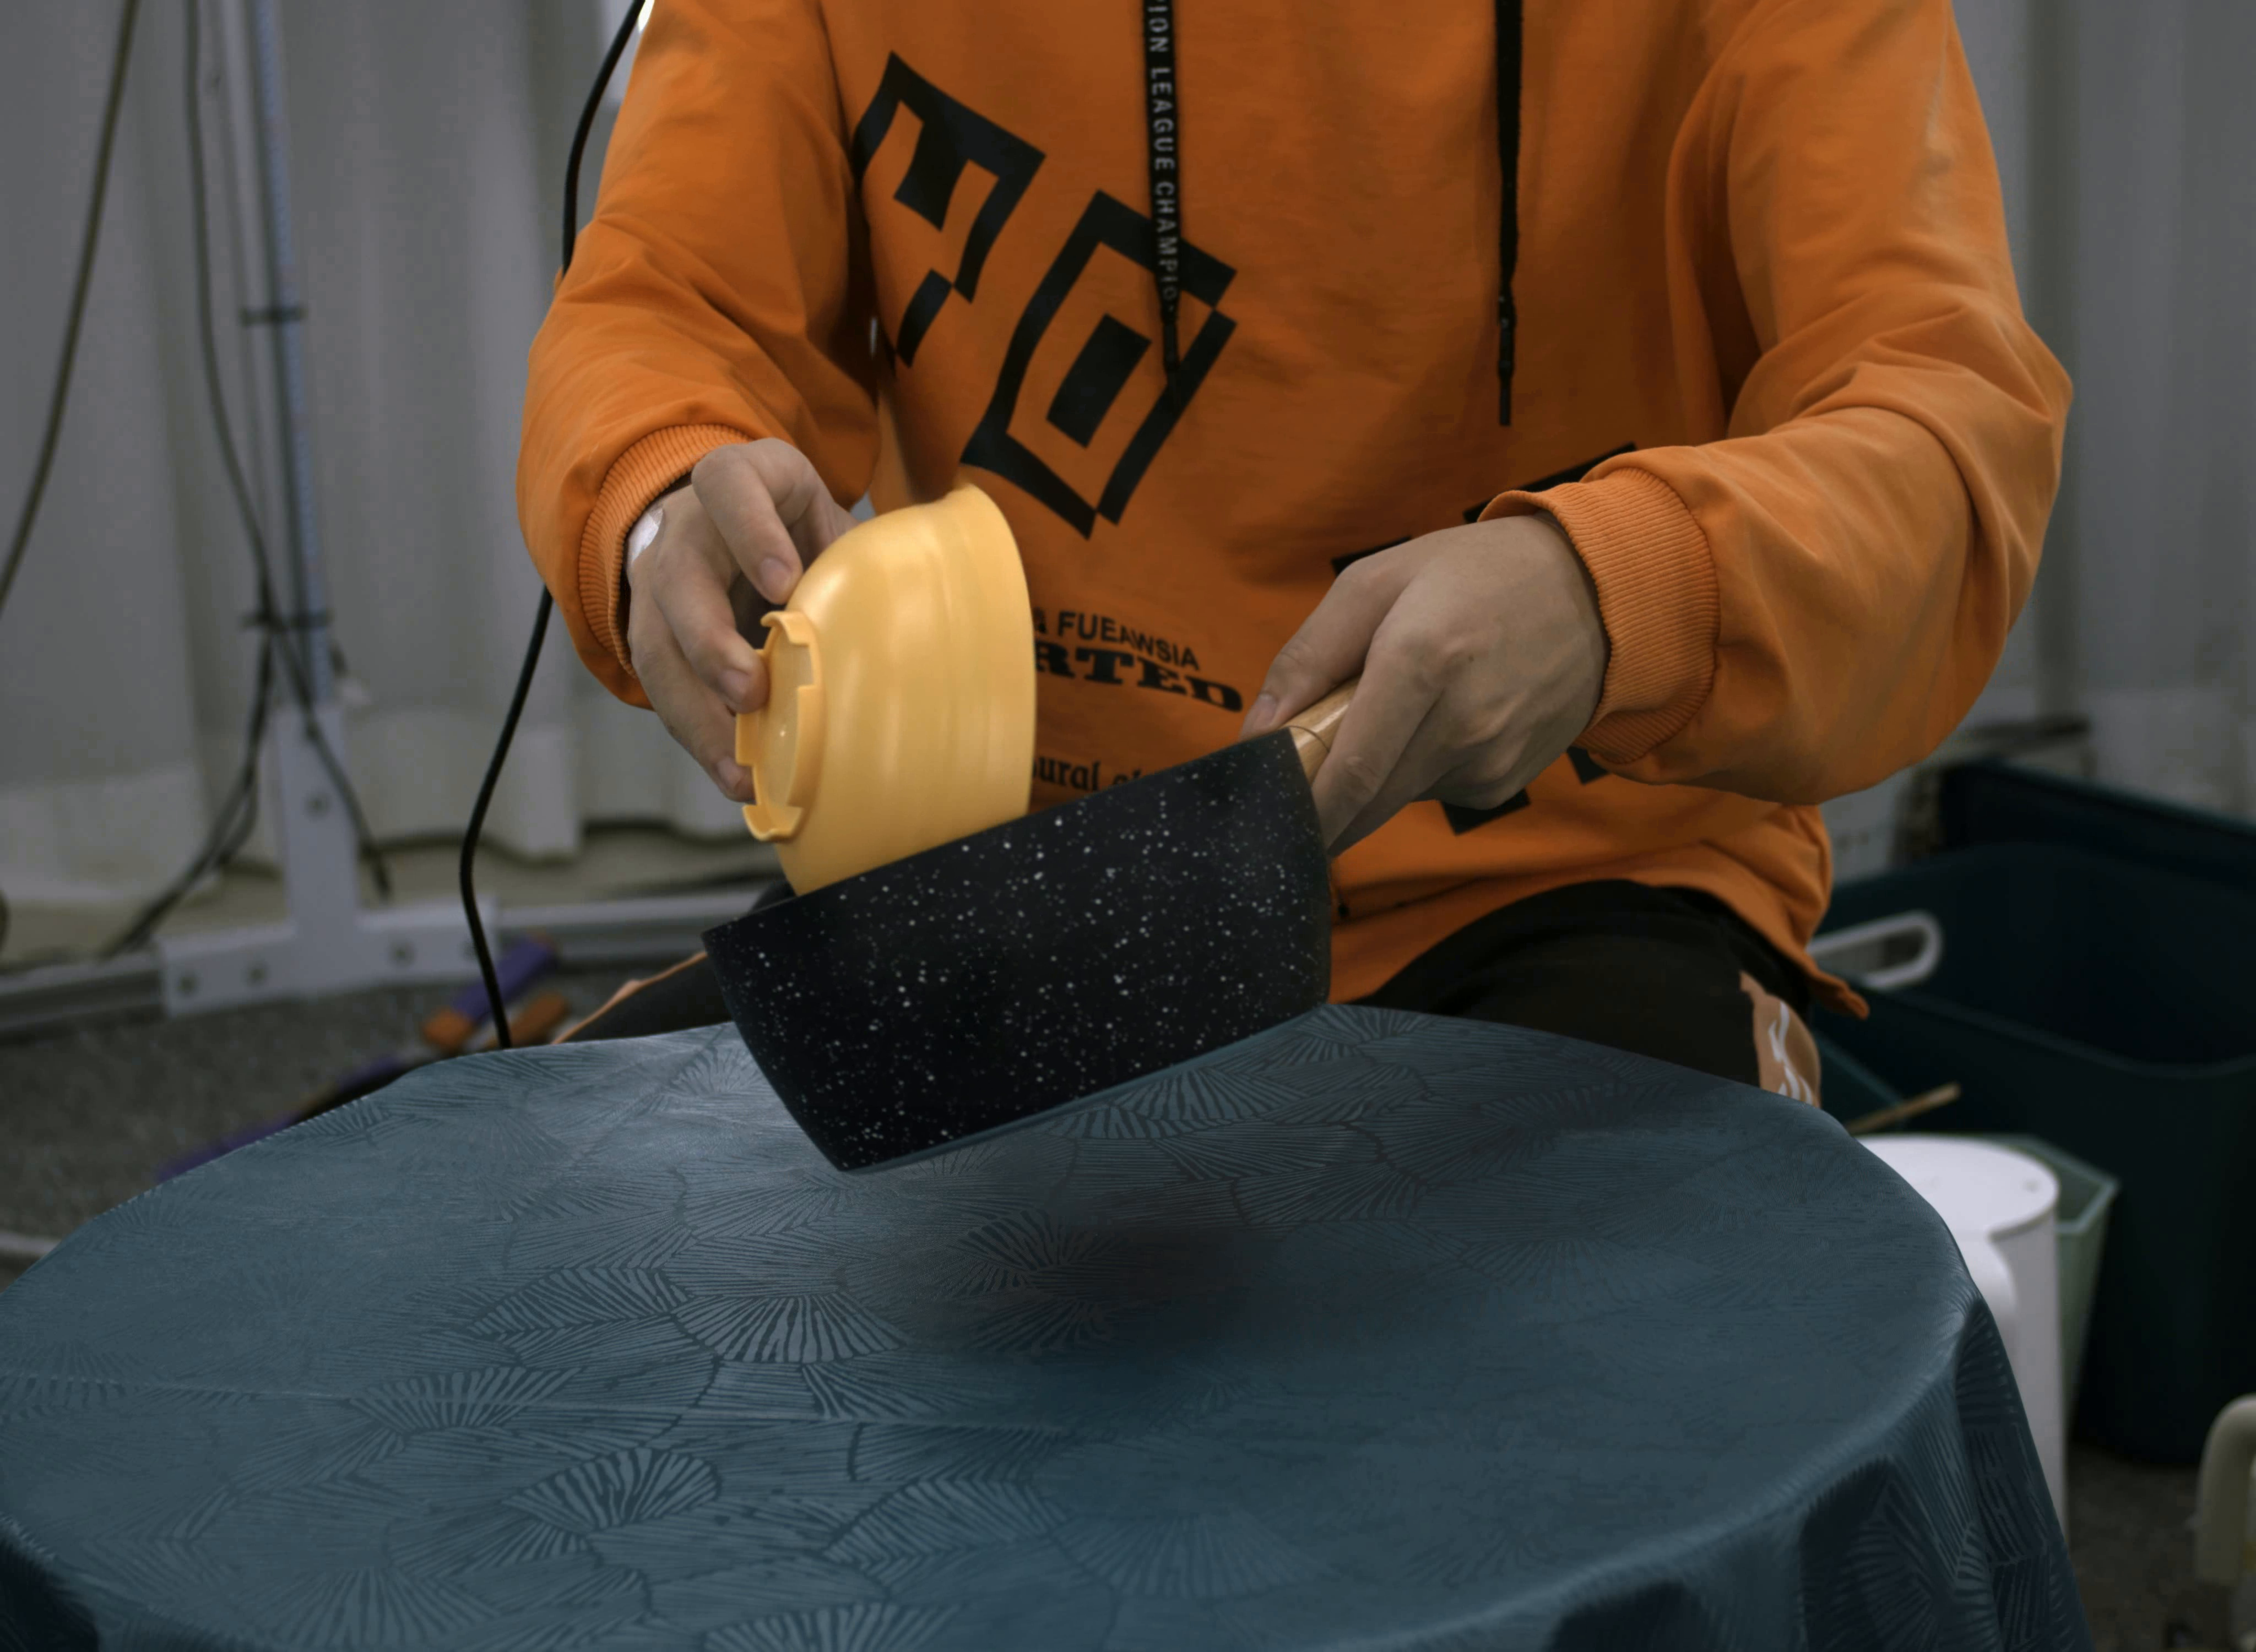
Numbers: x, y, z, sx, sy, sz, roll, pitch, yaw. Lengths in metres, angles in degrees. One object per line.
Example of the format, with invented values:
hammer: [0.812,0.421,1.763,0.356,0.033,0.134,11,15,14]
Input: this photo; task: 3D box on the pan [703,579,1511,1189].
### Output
pan: [0.022,0.012,1.667,0.207,0.108,0.342,-21,0,42]

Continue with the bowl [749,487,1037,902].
bowl: [-0.073,-0.026,1.586,0.060,0.145,0.146,-1,13,-18]
